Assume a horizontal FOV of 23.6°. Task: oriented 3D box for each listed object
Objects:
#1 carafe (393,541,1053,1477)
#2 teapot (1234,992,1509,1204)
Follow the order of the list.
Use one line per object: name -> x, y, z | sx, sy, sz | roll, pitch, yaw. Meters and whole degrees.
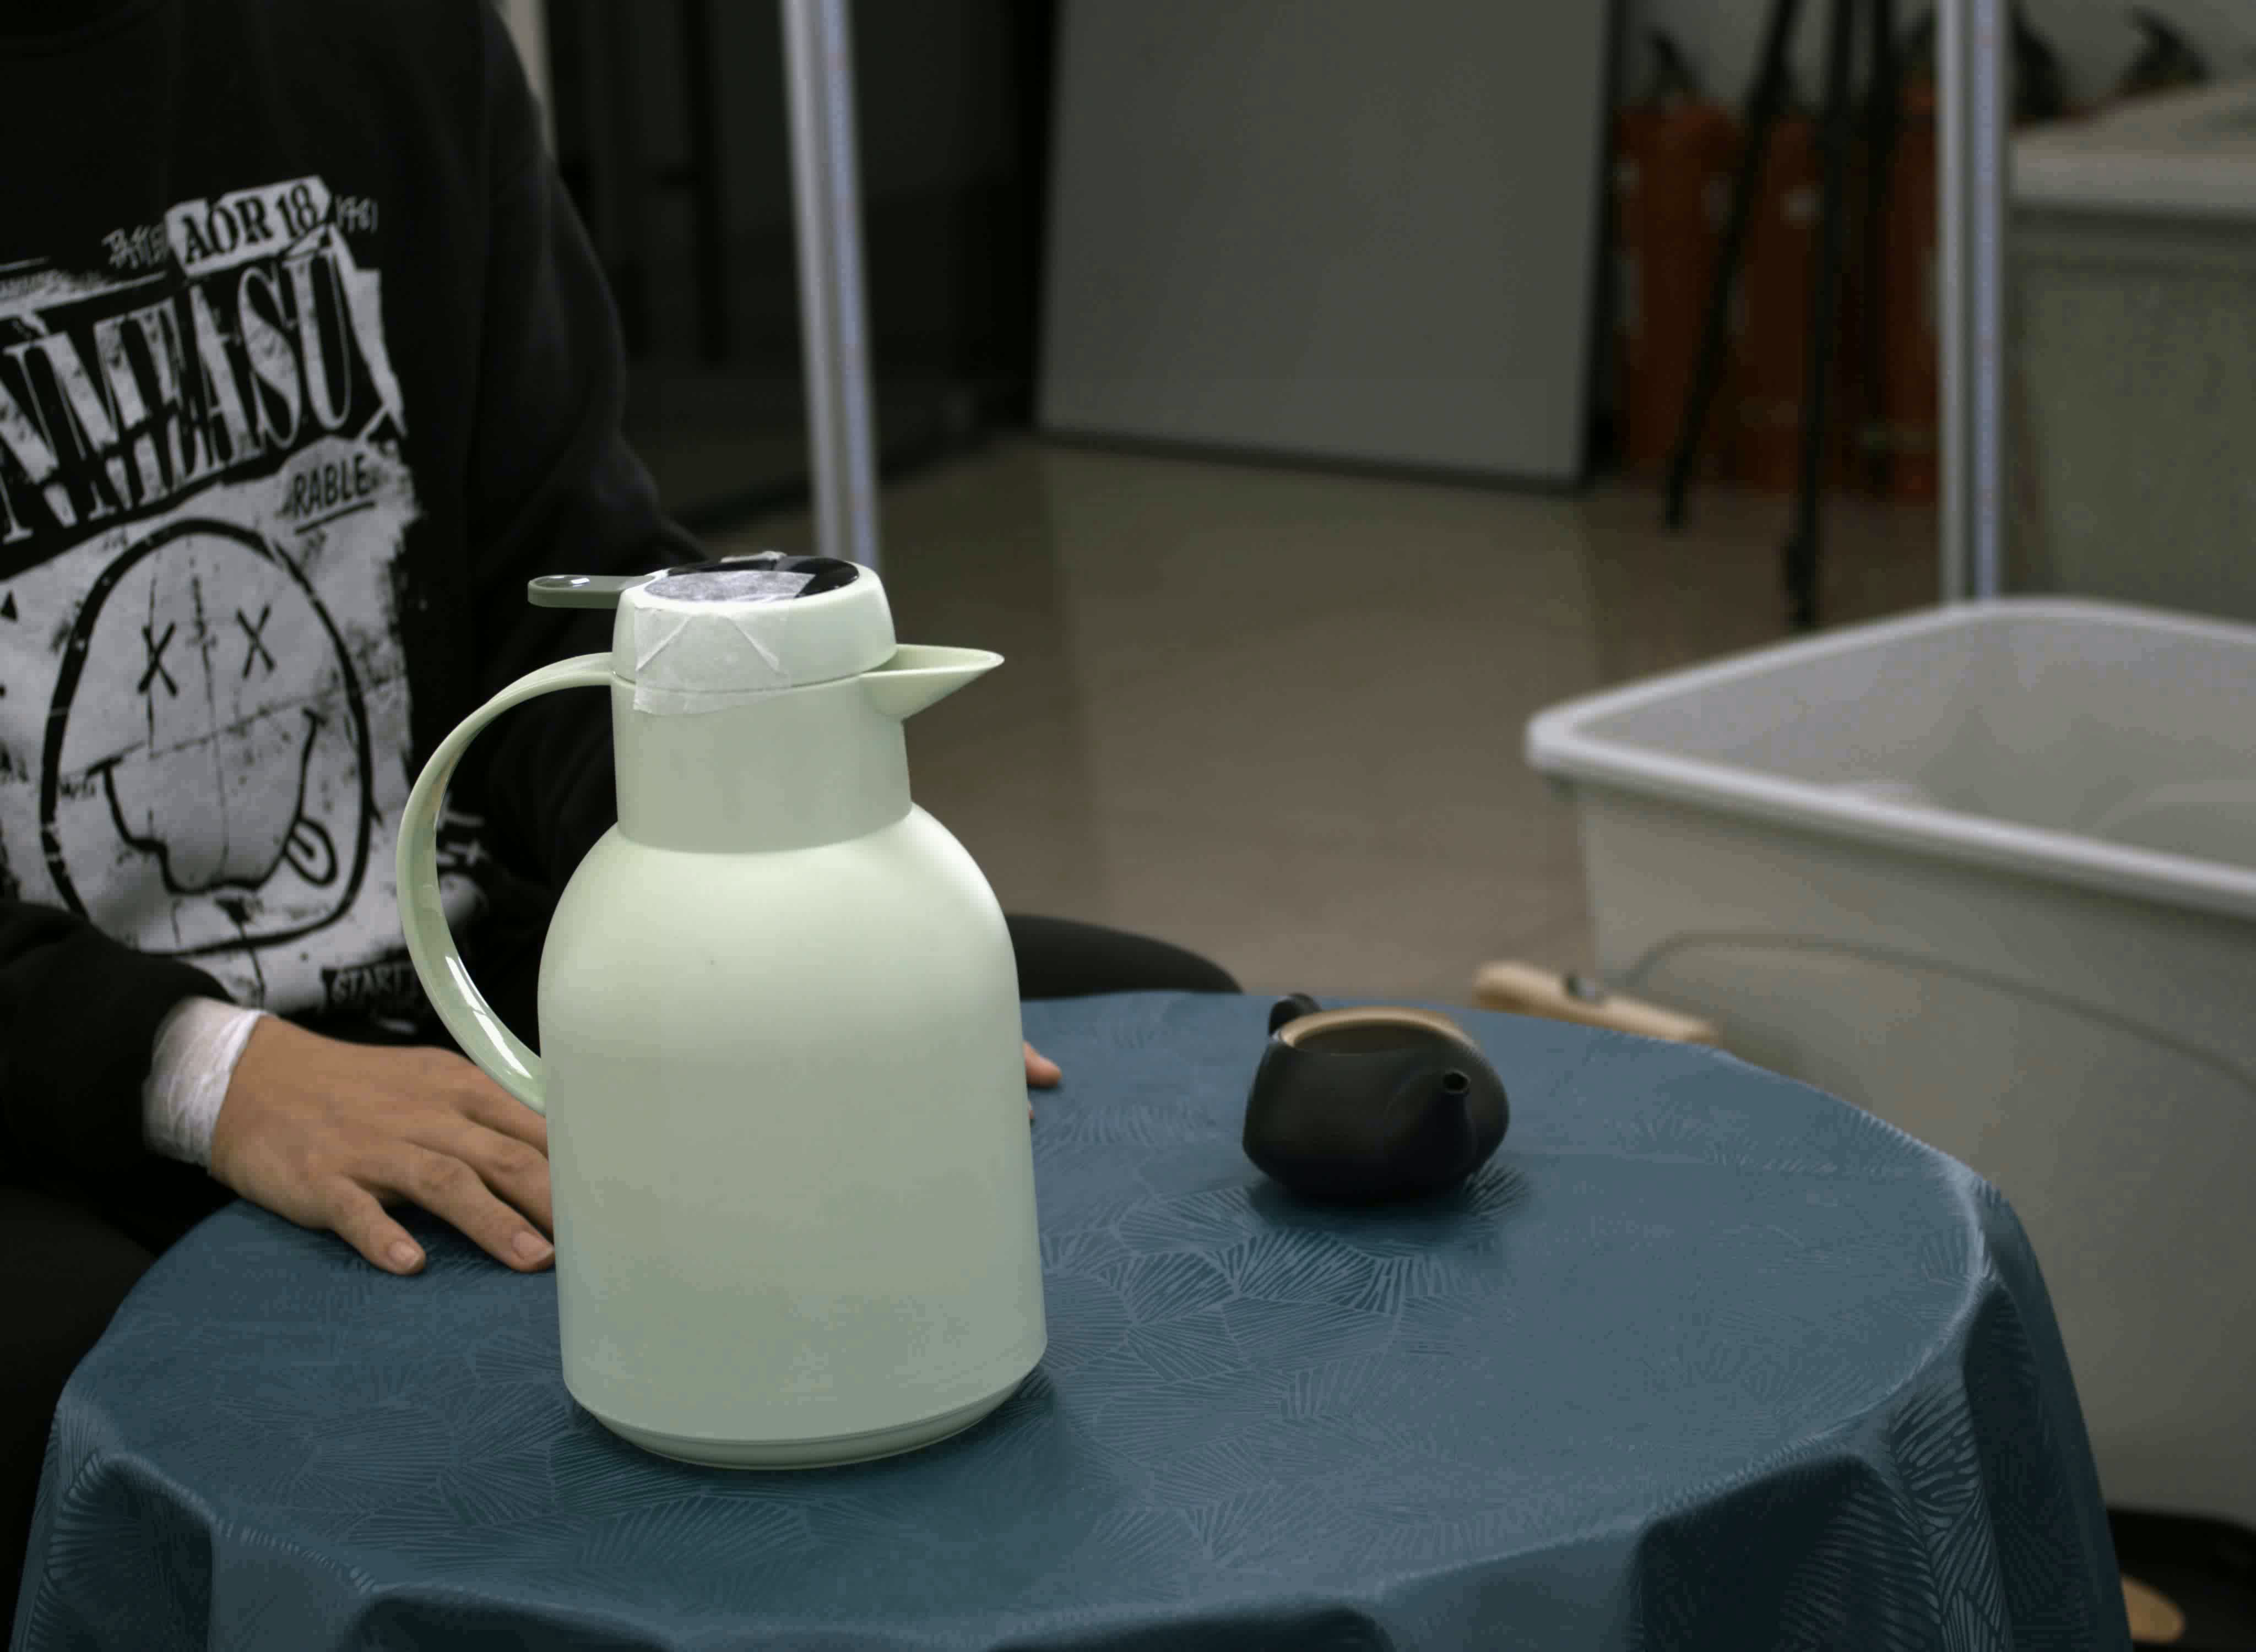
carafe -> -0.116, 0.049, 1.577 | 0.186, 0.259, 0.143 | -4, 14, 13
teapot -> 0.079, 0.091, 1.760 | 0.089, 0.053, 0.134 | -8, 15, -23
